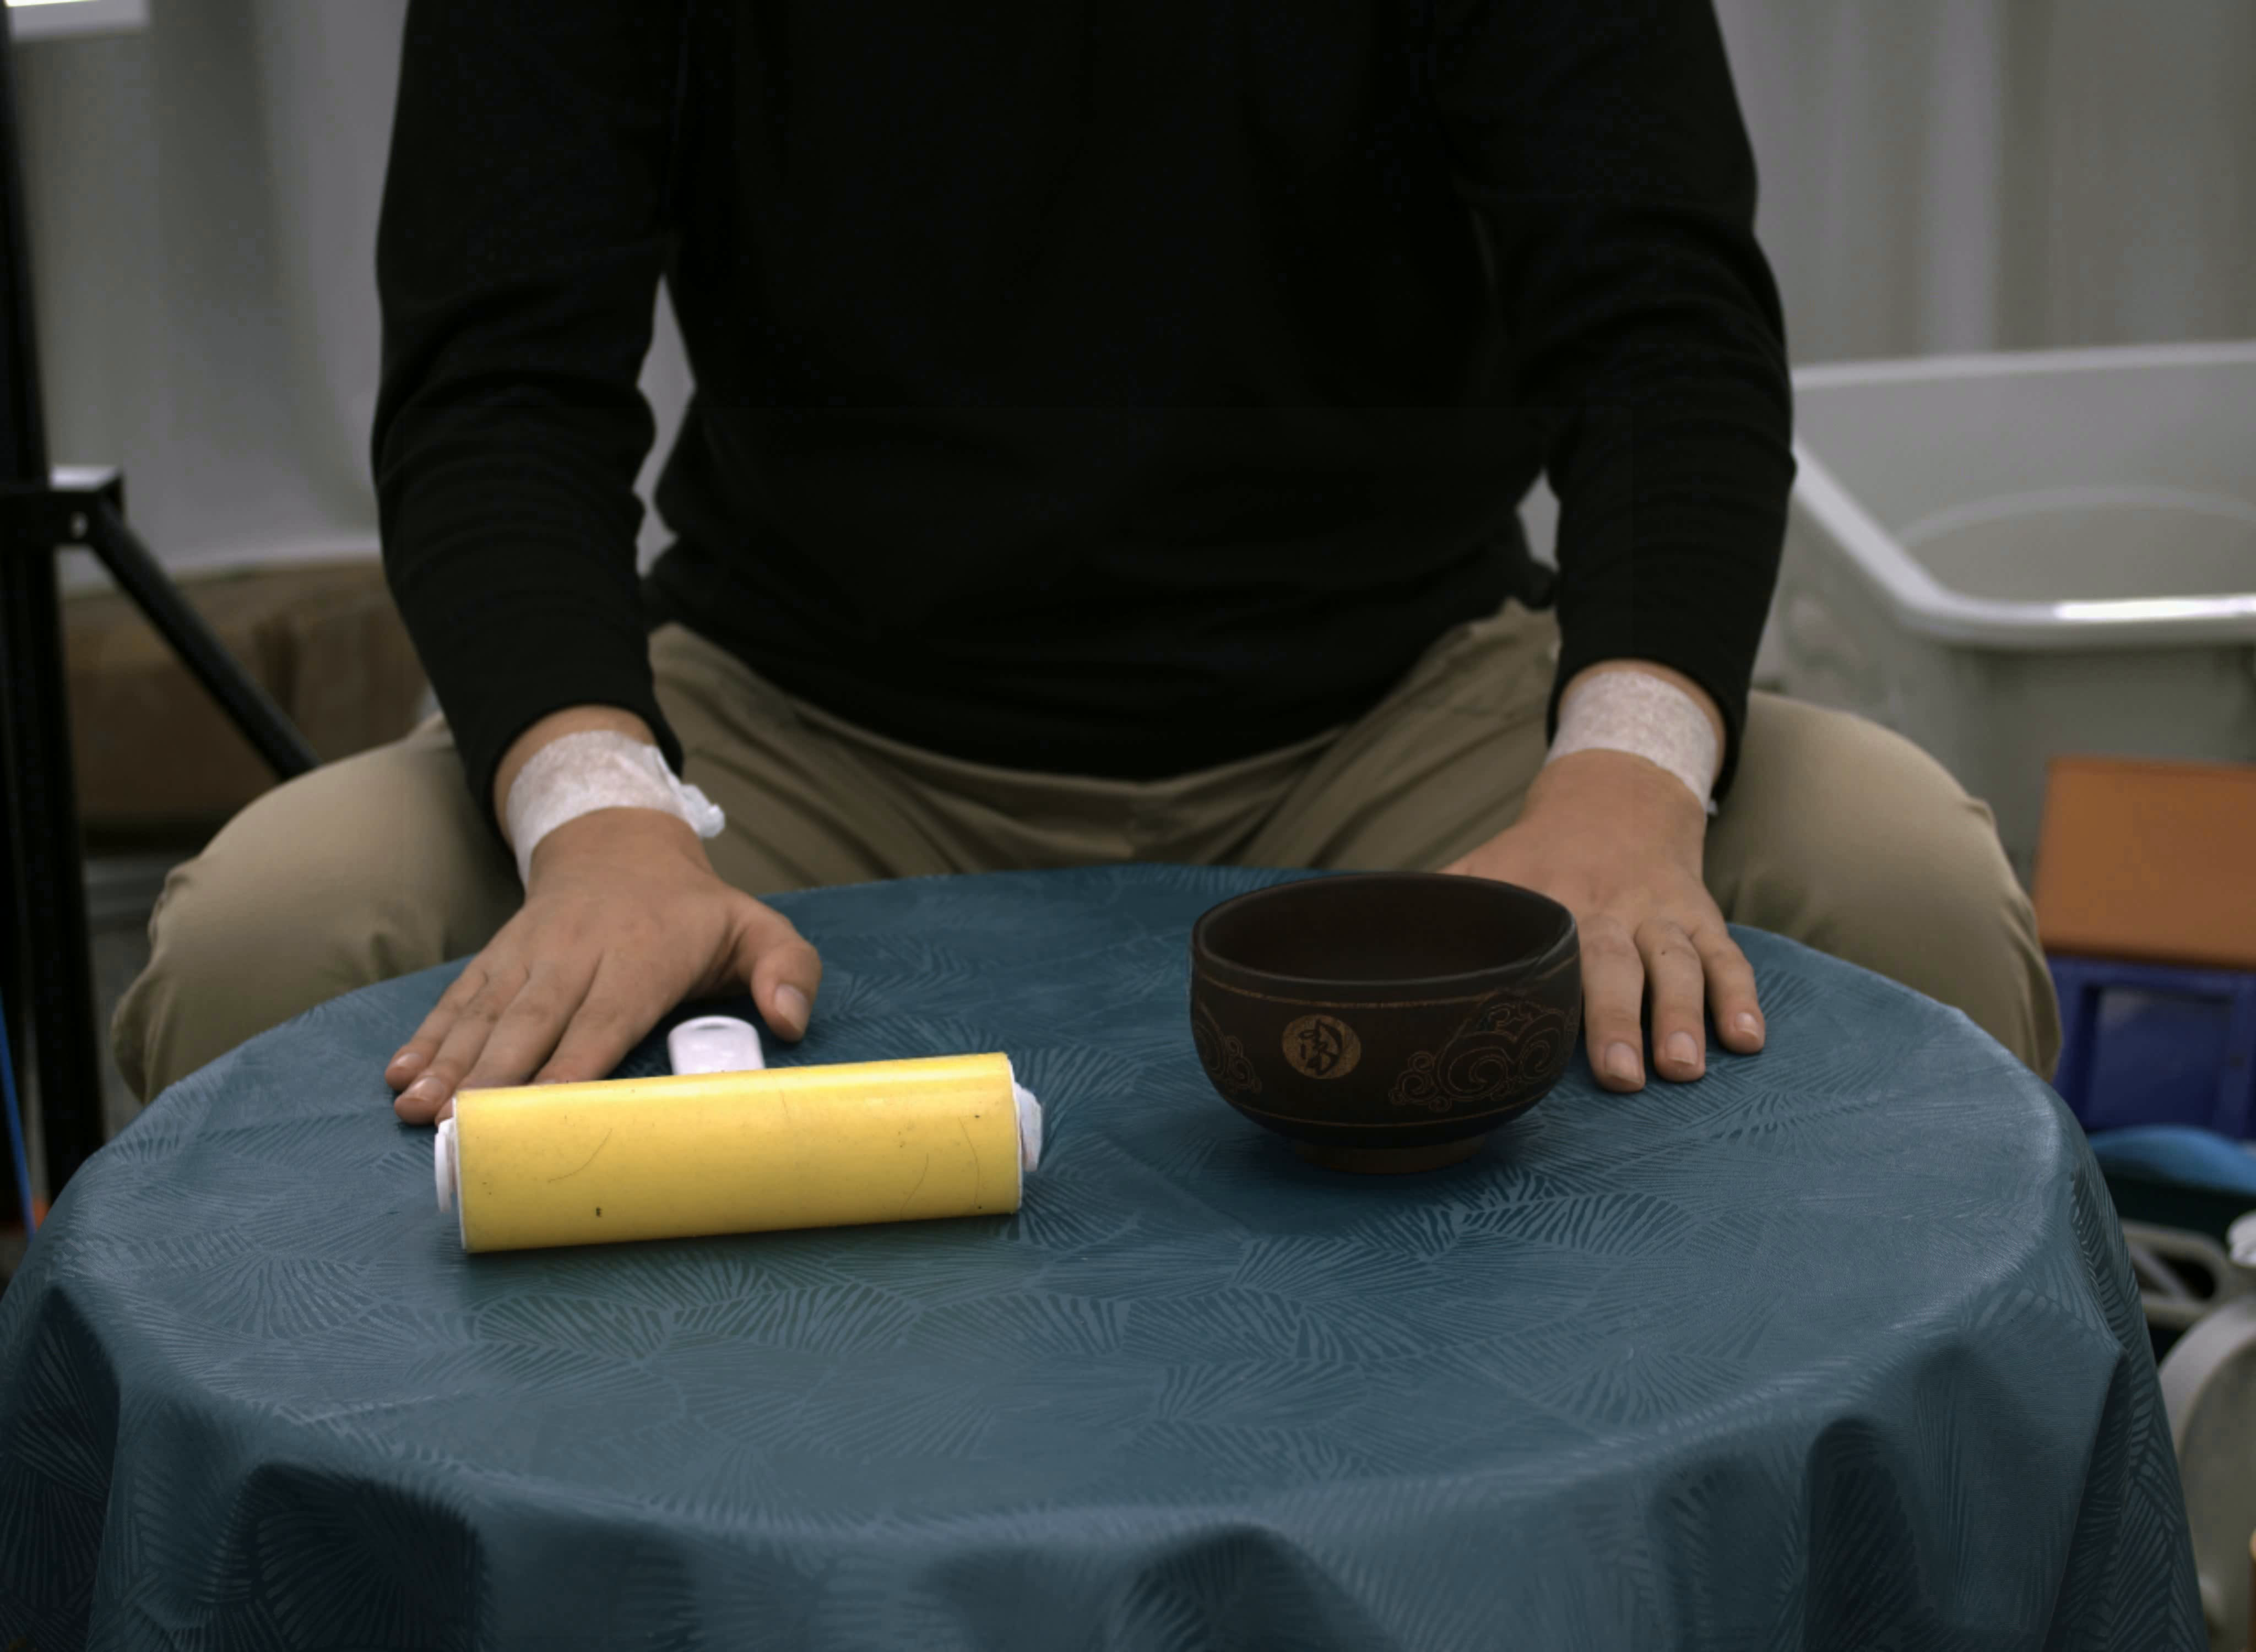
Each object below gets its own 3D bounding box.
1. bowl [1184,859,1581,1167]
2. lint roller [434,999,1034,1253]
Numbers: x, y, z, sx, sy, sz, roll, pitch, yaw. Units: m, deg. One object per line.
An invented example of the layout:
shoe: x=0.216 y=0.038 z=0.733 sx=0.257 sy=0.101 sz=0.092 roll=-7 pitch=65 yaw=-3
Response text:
bowl: x=0.076 y=0.060 z=1.578 sx=0.117 sy=0.070 sz=0.118 roll=-2 pitch=16 yaw=-1
lint roller: x=-0.125 y=0.073 z=1.606 sx=0.172 sy=0.051 sz=0.194 roll=-4 pitch=20 yaw=-7
